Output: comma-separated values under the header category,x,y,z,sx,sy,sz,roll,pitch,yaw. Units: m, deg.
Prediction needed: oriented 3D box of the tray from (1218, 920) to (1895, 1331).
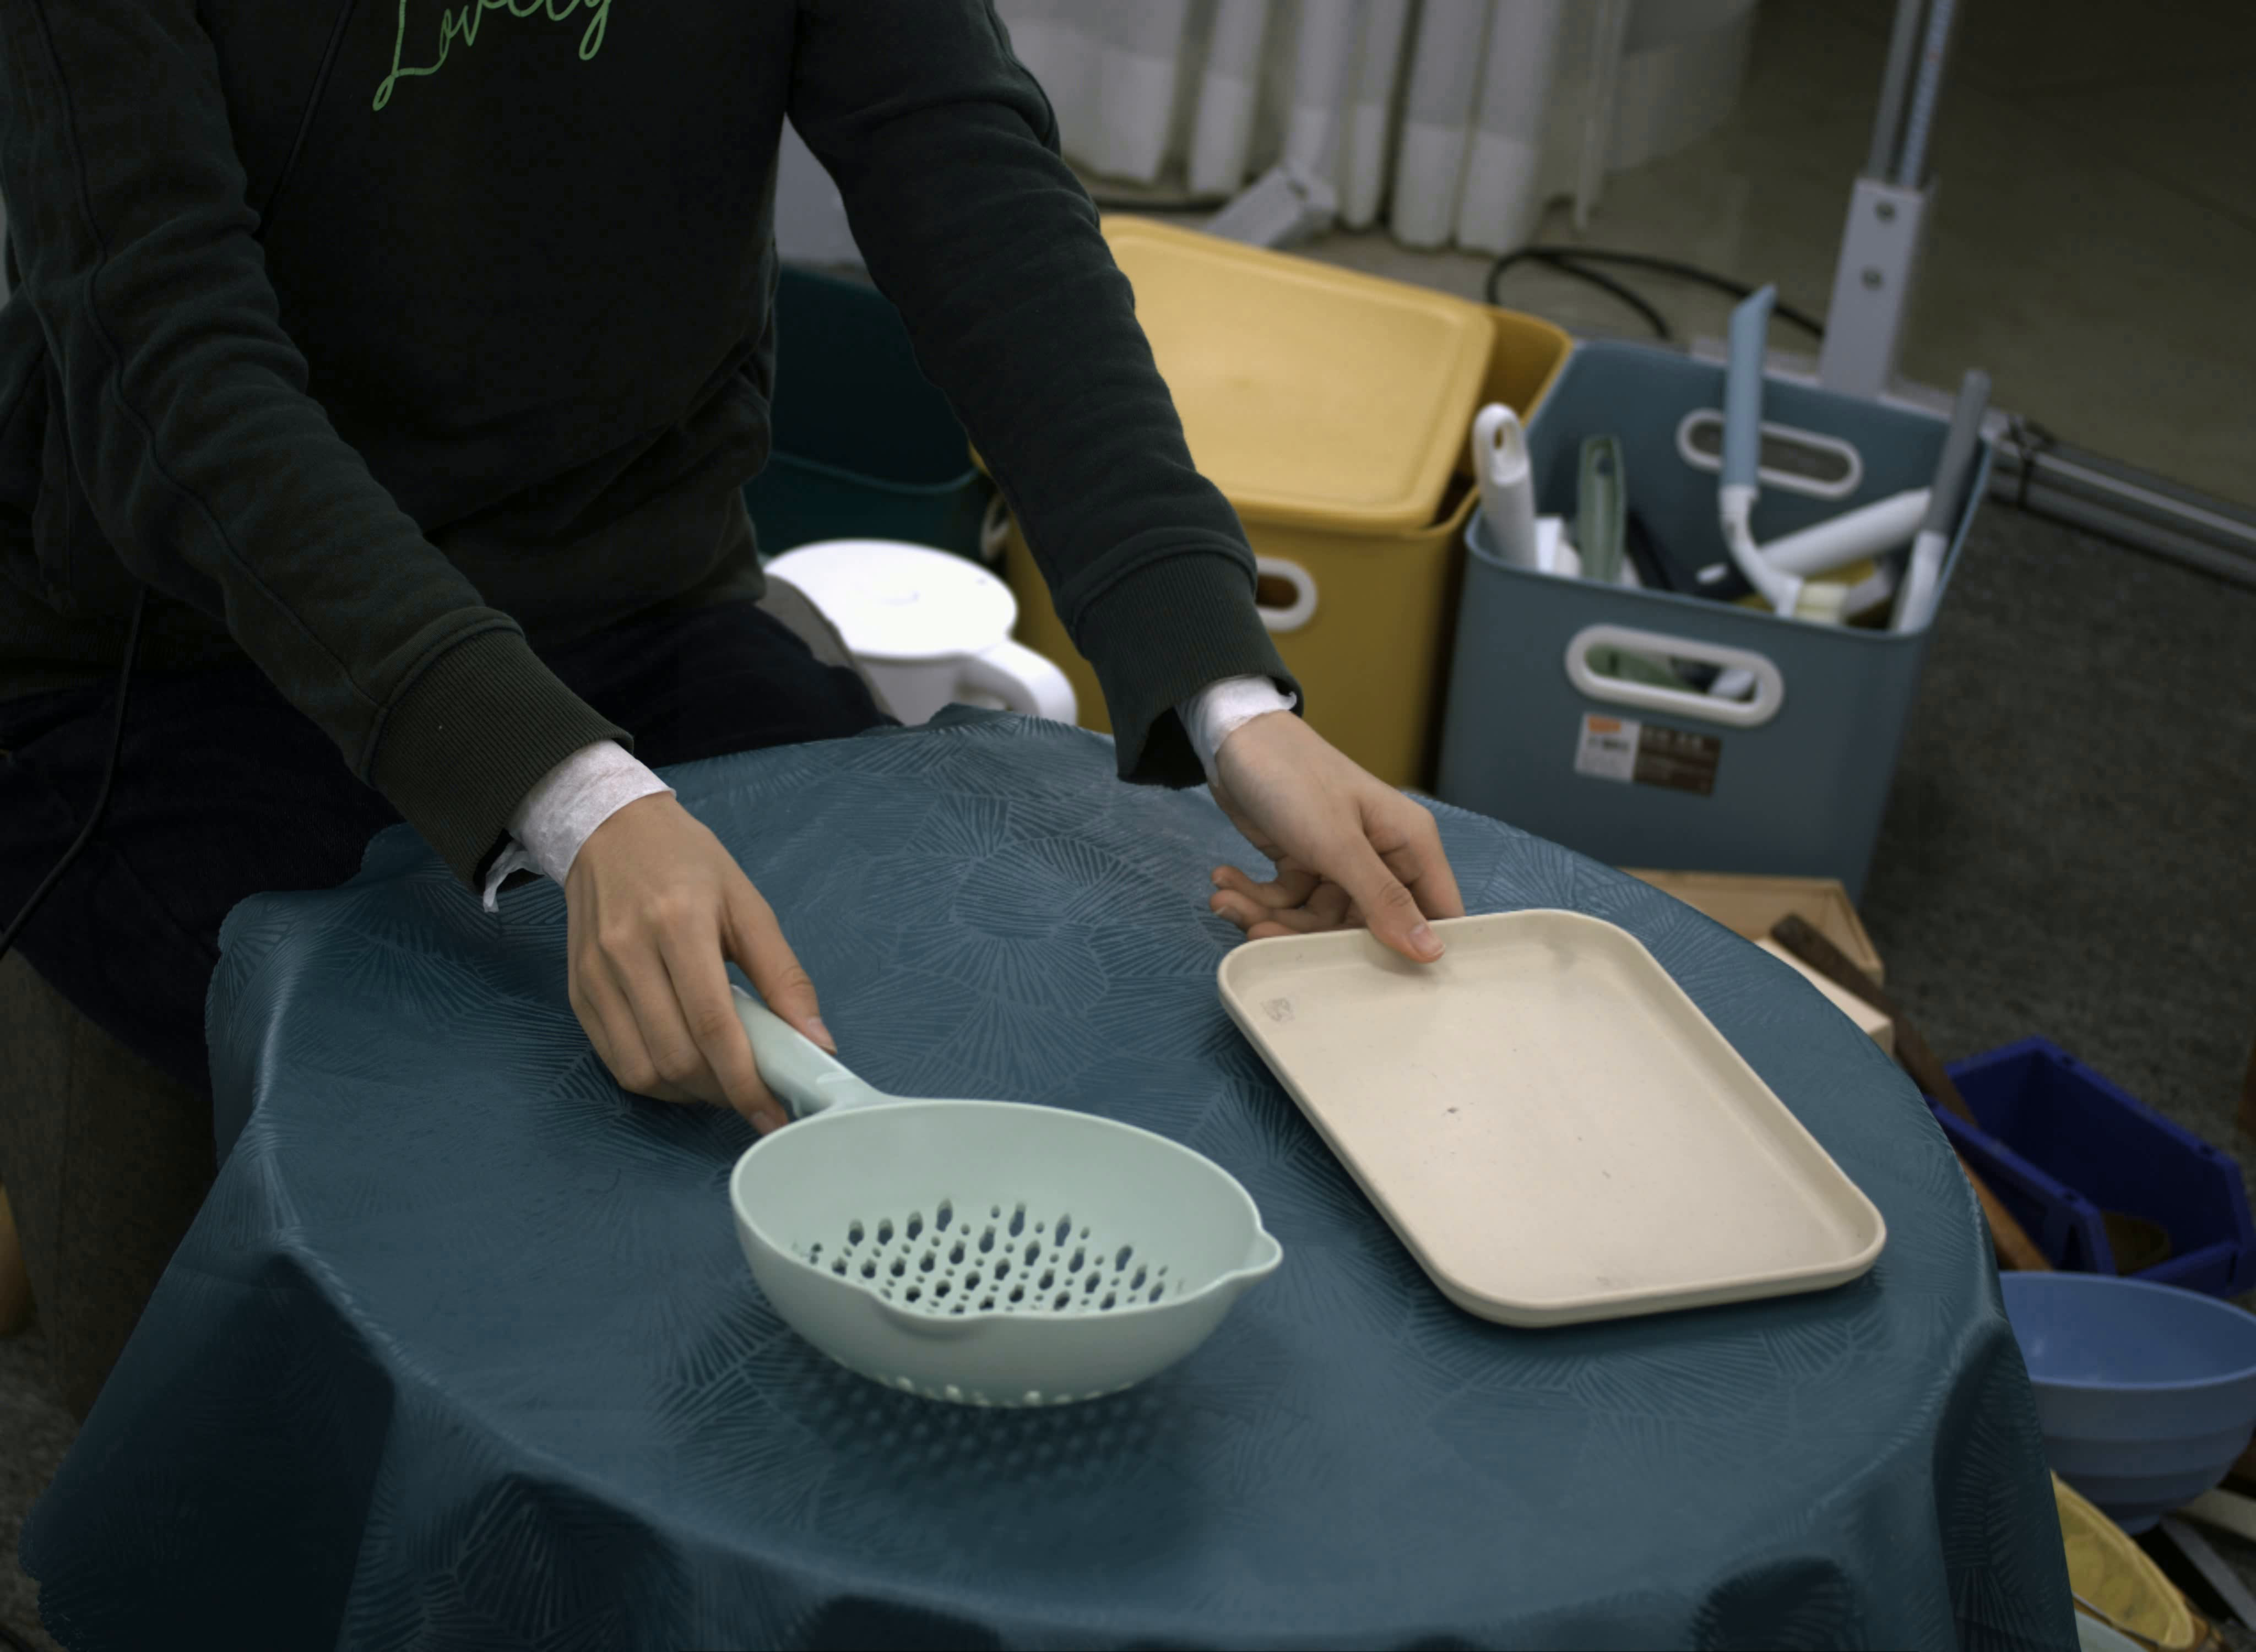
category,x,y,z,sx,sy,sz,roll,pitch,yaw
tray,0.145,0.102,1.849,0.170,0.017,0.242,-5,30,-23

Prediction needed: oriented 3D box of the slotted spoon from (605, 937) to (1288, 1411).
category,x,y,z,sx,sy,sz,roll,pitch,yaw
slotted spoon,-0.091,0.099,1.755,0.168,0.075,0.362,-4,29,-30
